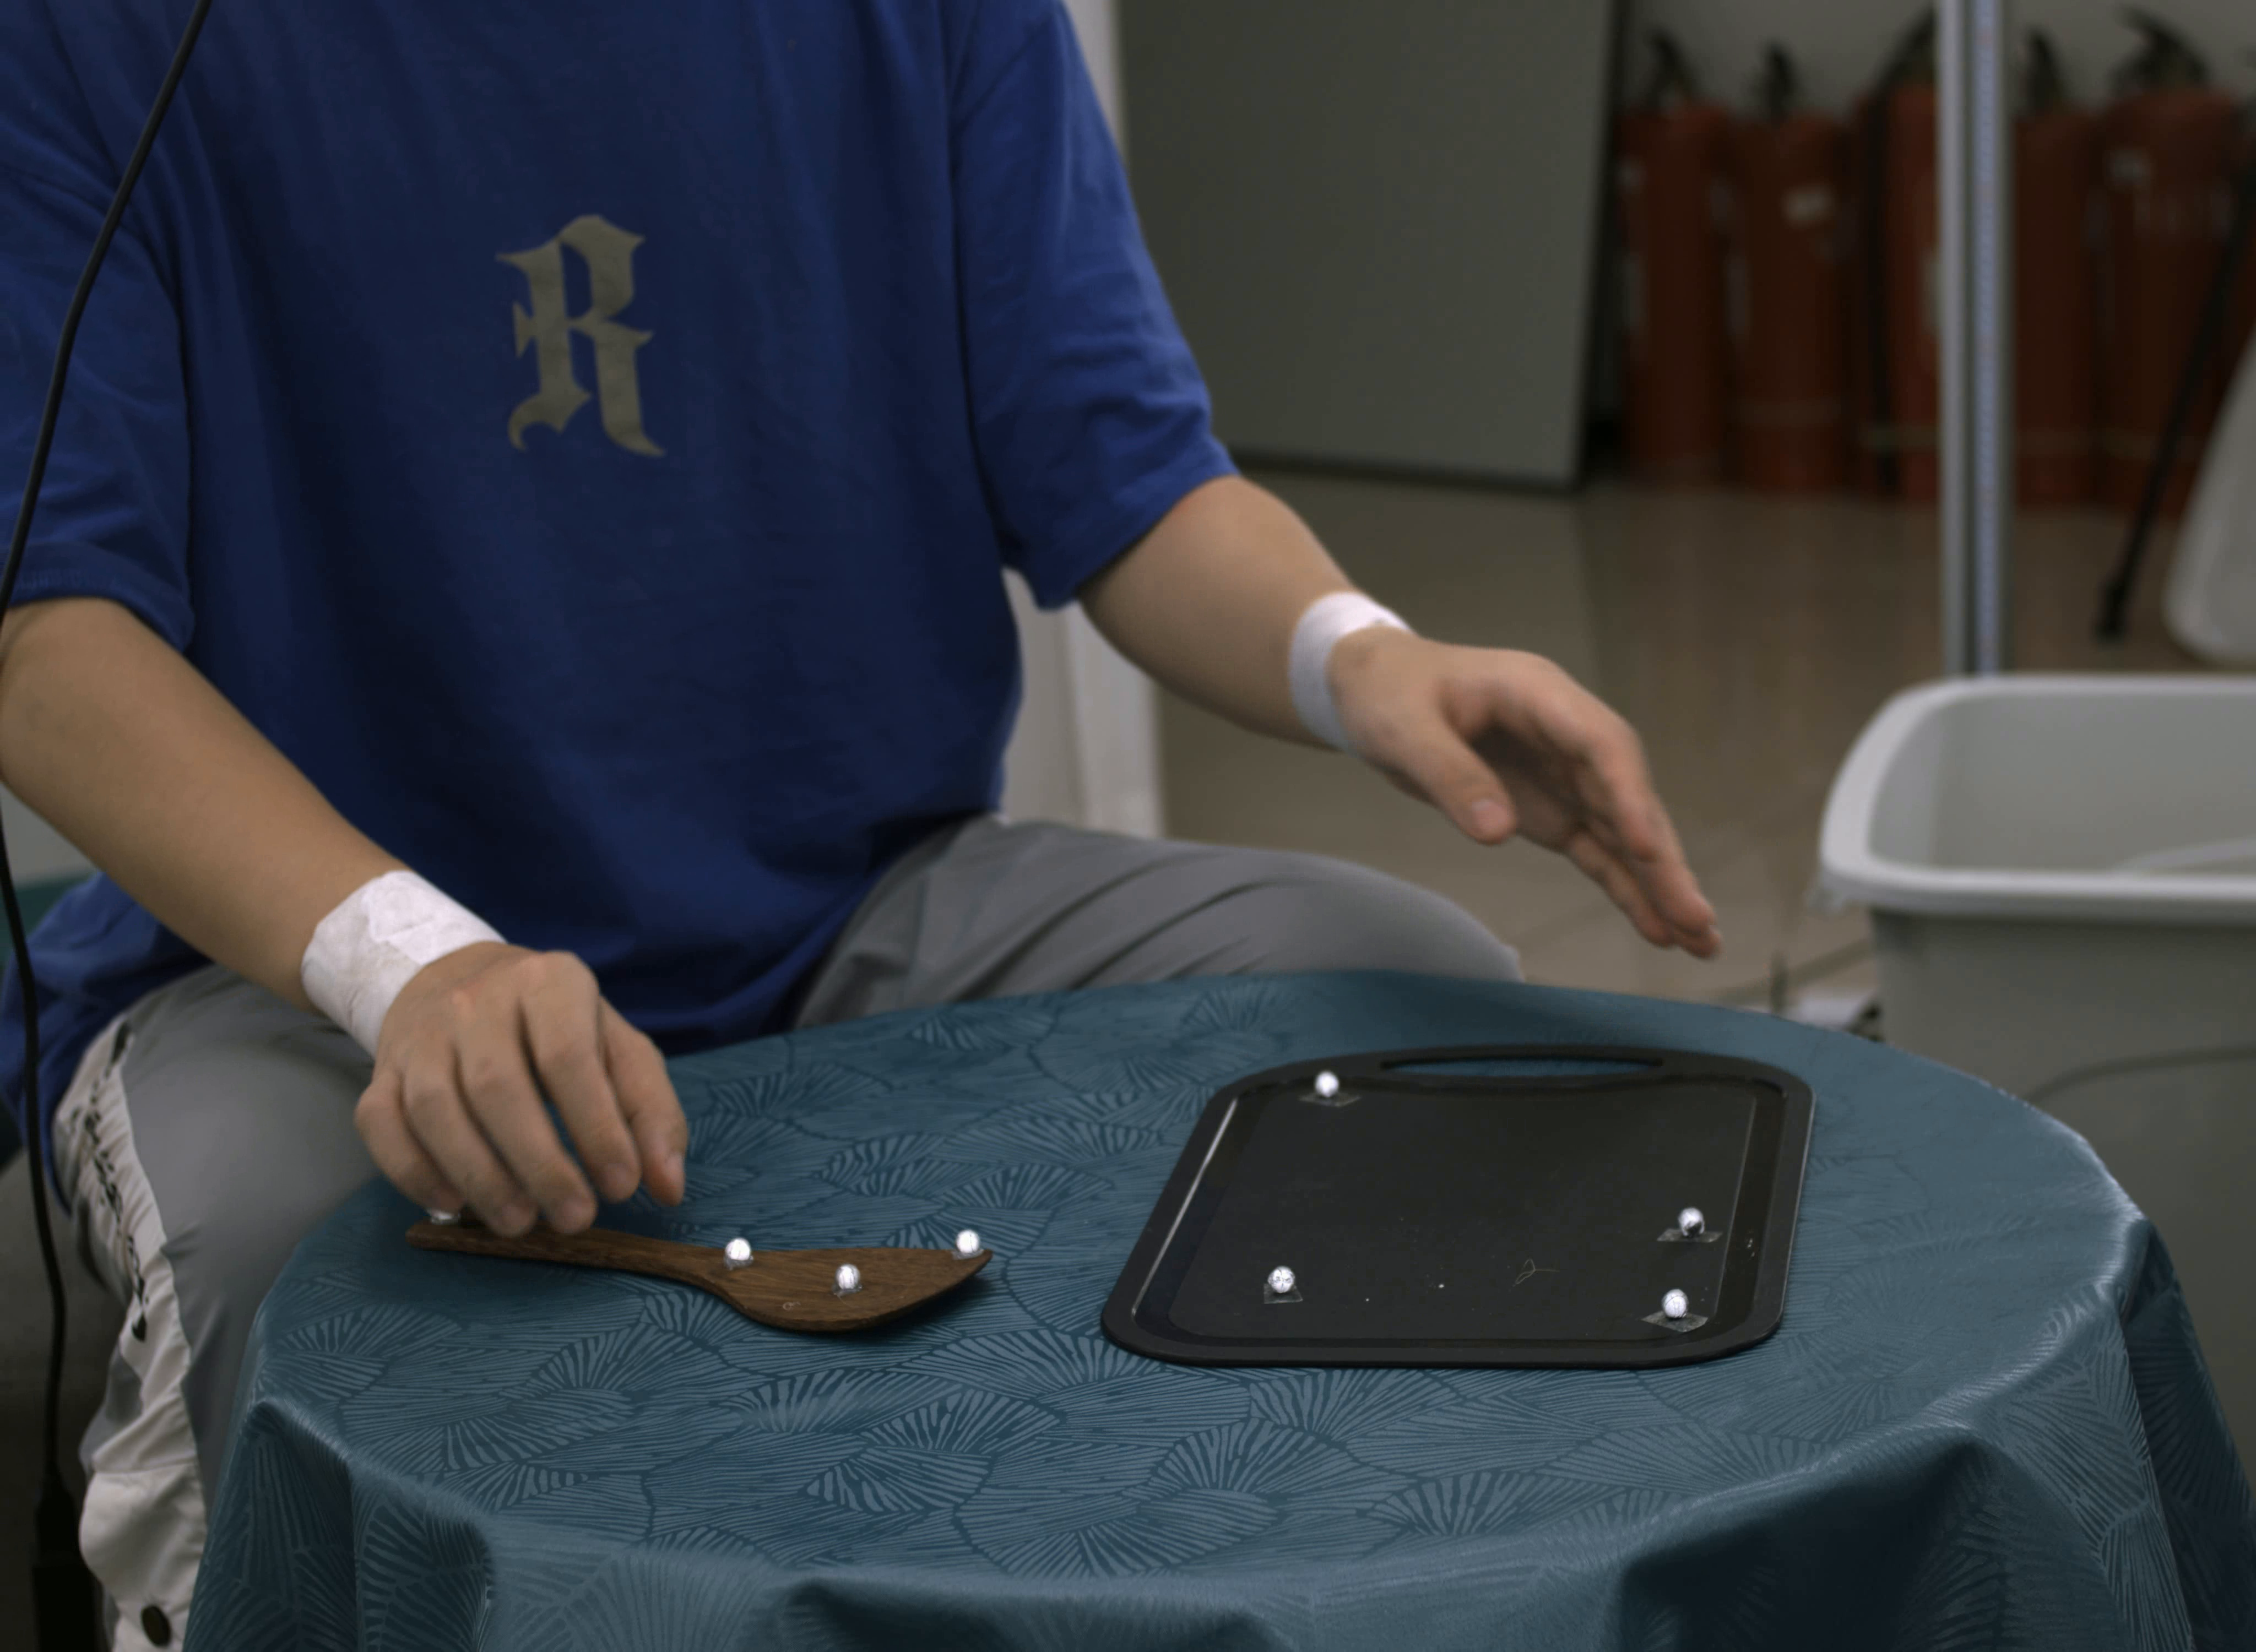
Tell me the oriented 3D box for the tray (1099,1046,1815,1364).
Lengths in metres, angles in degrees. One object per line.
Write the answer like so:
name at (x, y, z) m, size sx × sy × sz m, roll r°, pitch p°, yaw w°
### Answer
tray at (0.113, 0.117, 1.741) m, size 0.210 × 0.010 × 0.324 m, roll -1°, pitch 14°, yaw 11°

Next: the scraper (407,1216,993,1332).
scraper at (-0.142, 0.140, 1.719) m, size 0.212 × 0.011 × 0.074 m, roll 4°, pitch 15°, yaw 33°
